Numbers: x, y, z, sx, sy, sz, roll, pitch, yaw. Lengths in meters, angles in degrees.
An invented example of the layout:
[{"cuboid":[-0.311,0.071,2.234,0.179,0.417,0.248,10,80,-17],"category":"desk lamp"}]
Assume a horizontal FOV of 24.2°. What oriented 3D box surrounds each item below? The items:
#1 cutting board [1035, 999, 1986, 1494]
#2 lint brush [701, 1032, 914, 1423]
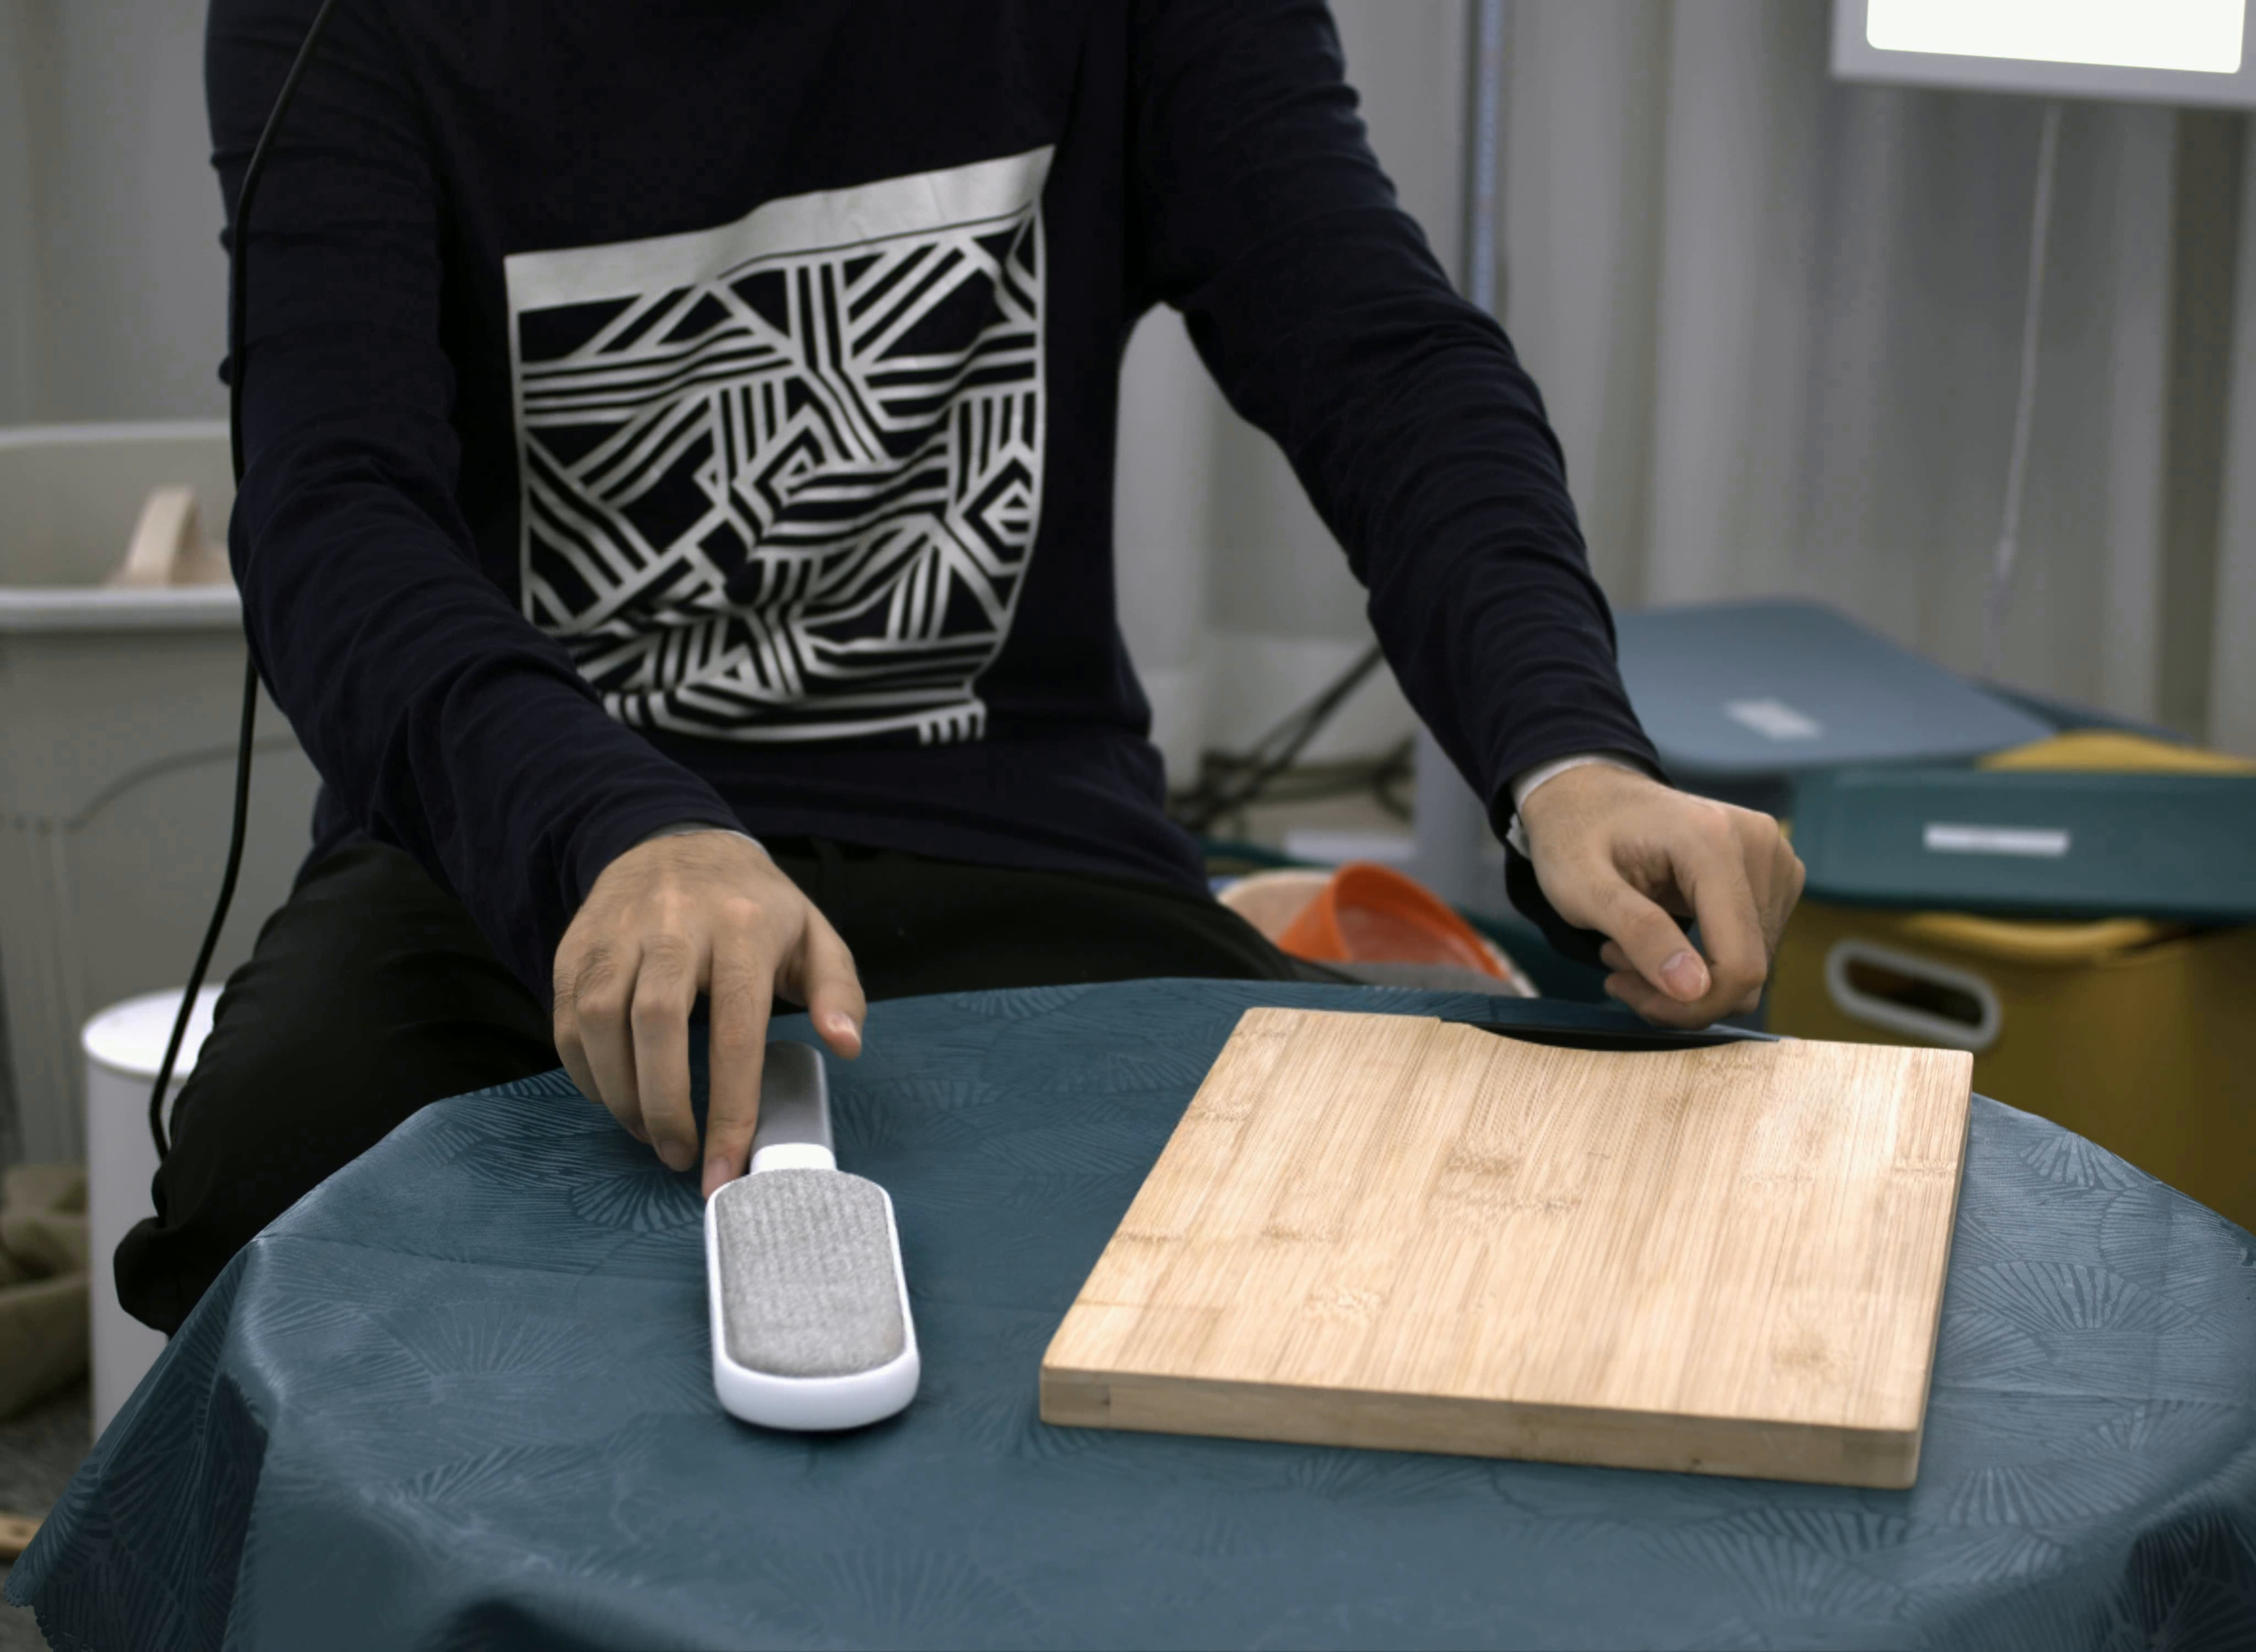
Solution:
[{"cuboid":[0.127,0.118,1.580,0.249,0.024,0.348,4,16,10],"category":"cutting board"},{"cuboid":[-0.097,0.114,1.563,0.060,0.021,0.306,-6,16,-4],"category":"lint brush"}]
